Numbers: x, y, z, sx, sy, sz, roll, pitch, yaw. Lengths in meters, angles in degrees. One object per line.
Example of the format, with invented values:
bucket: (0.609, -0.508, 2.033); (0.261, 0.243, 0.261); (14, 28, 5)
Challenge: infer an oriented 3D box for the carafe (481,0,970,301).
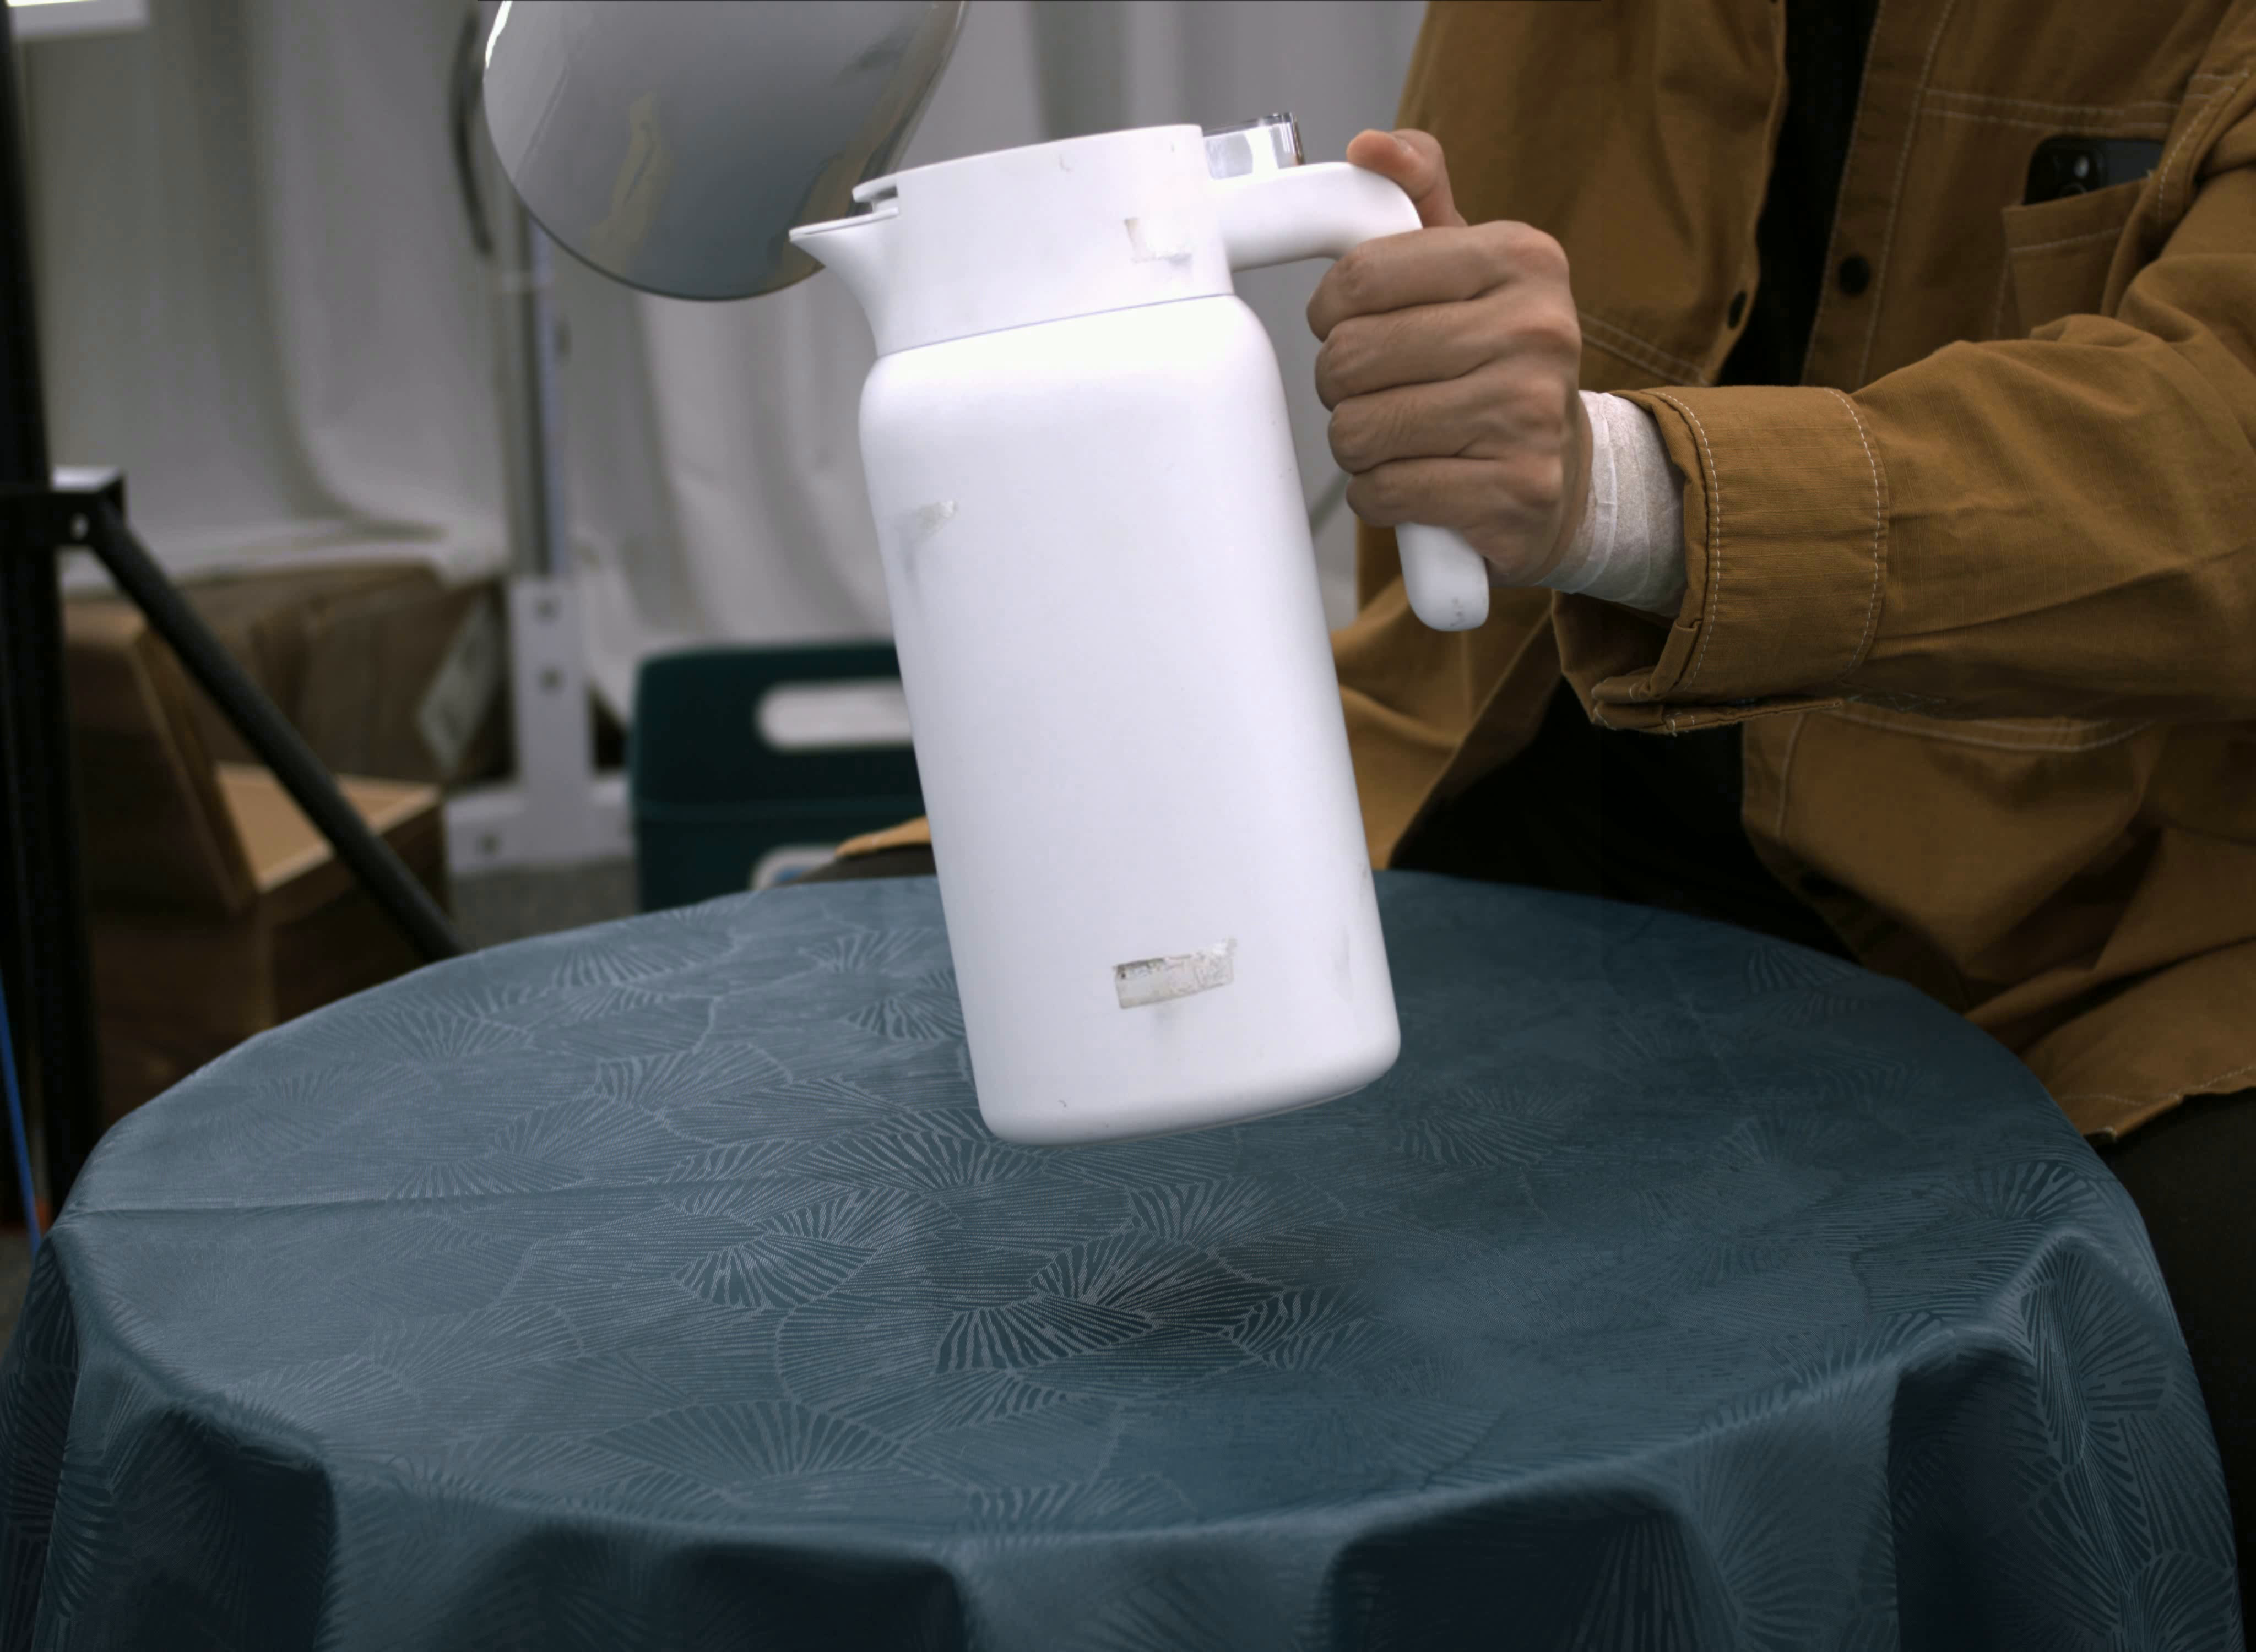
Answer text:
carafe: (-0.115, -0.278, 1.562); (0.131, 0.169, 0.250); (-30, -9, -23)

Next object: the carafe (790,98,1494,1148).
carafe: (0.013, -0.056, 1.444); (0.171, 0.270, 0.124); (-10, 0, -9)
